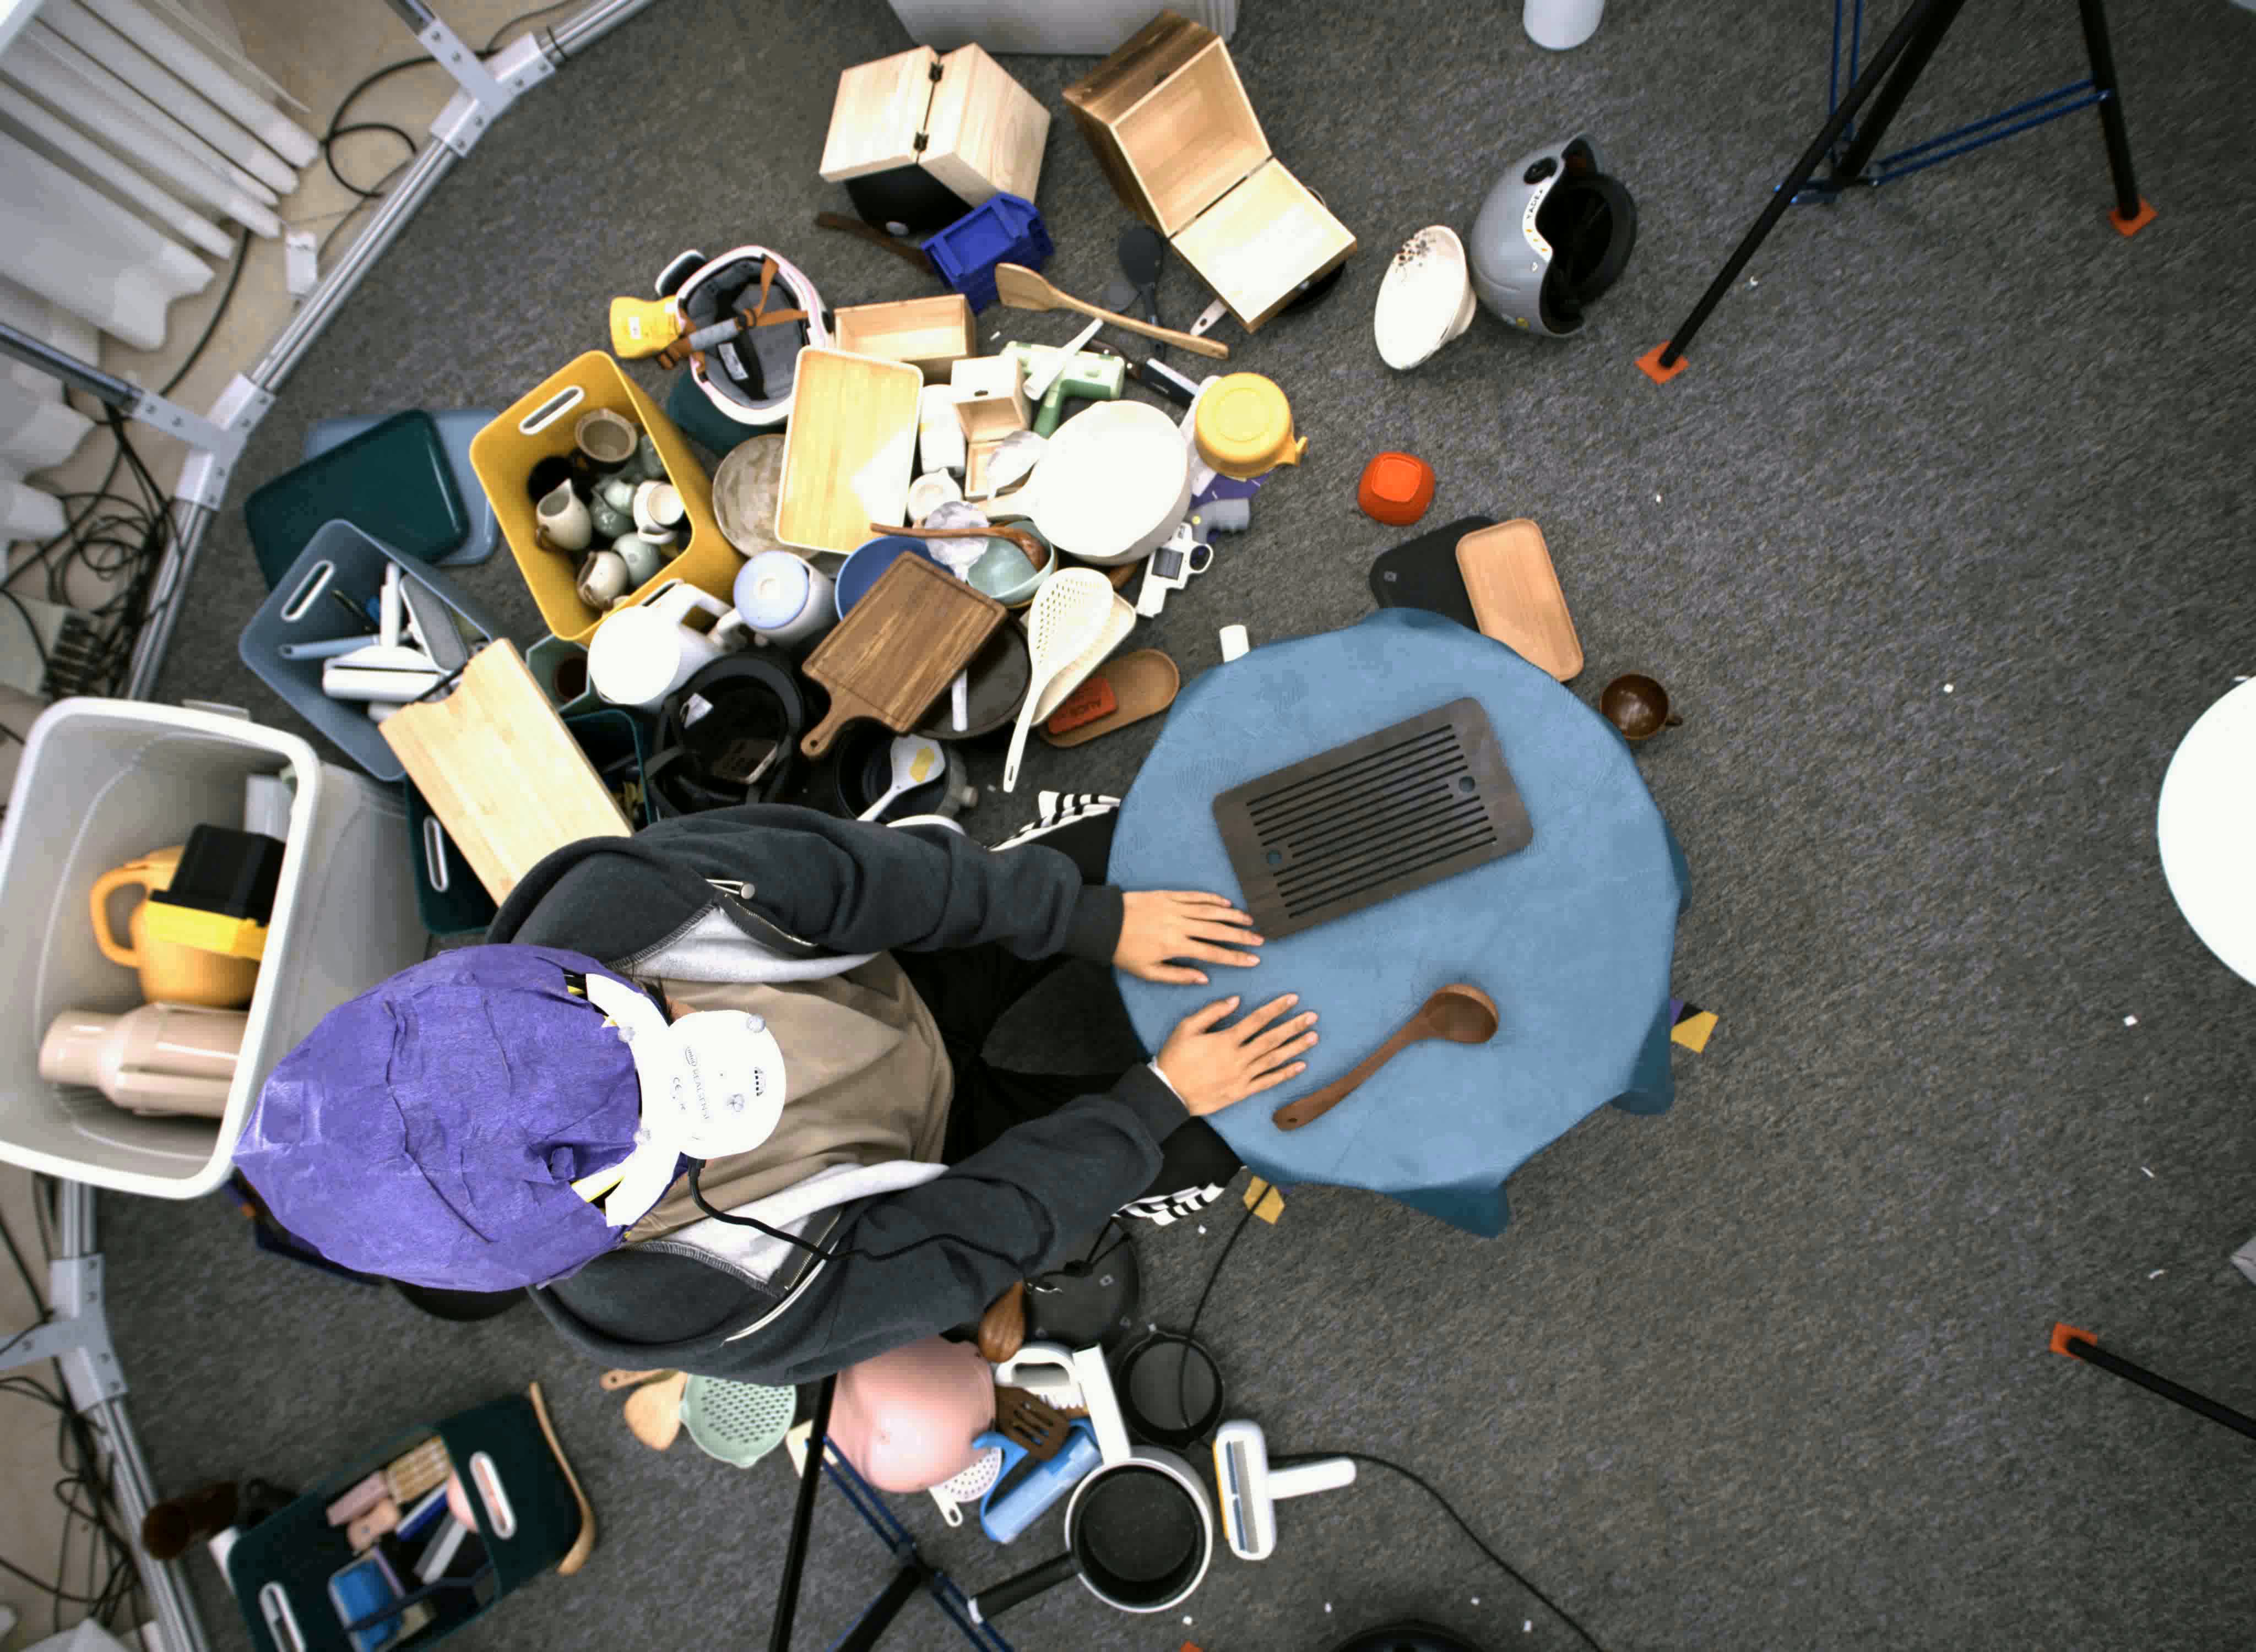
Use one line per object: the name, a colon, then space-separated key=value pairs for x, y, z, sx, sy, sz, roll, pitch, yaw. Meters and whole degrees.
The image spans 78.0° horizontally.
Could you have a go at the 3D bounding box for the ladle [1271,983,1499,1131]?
ladle: x=0.261 y=0.246 z=1.420 sx=0.261 sy=0.064 sz=0.077 roll=-35 pitch=107 yaw=6

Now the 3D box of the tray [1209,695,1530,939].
tray: x=0.253 y=-0.010 z=1.458 sx=0.308 sy=0.018 sz=0.169 roll=-21 pitch=83 yaw=9
